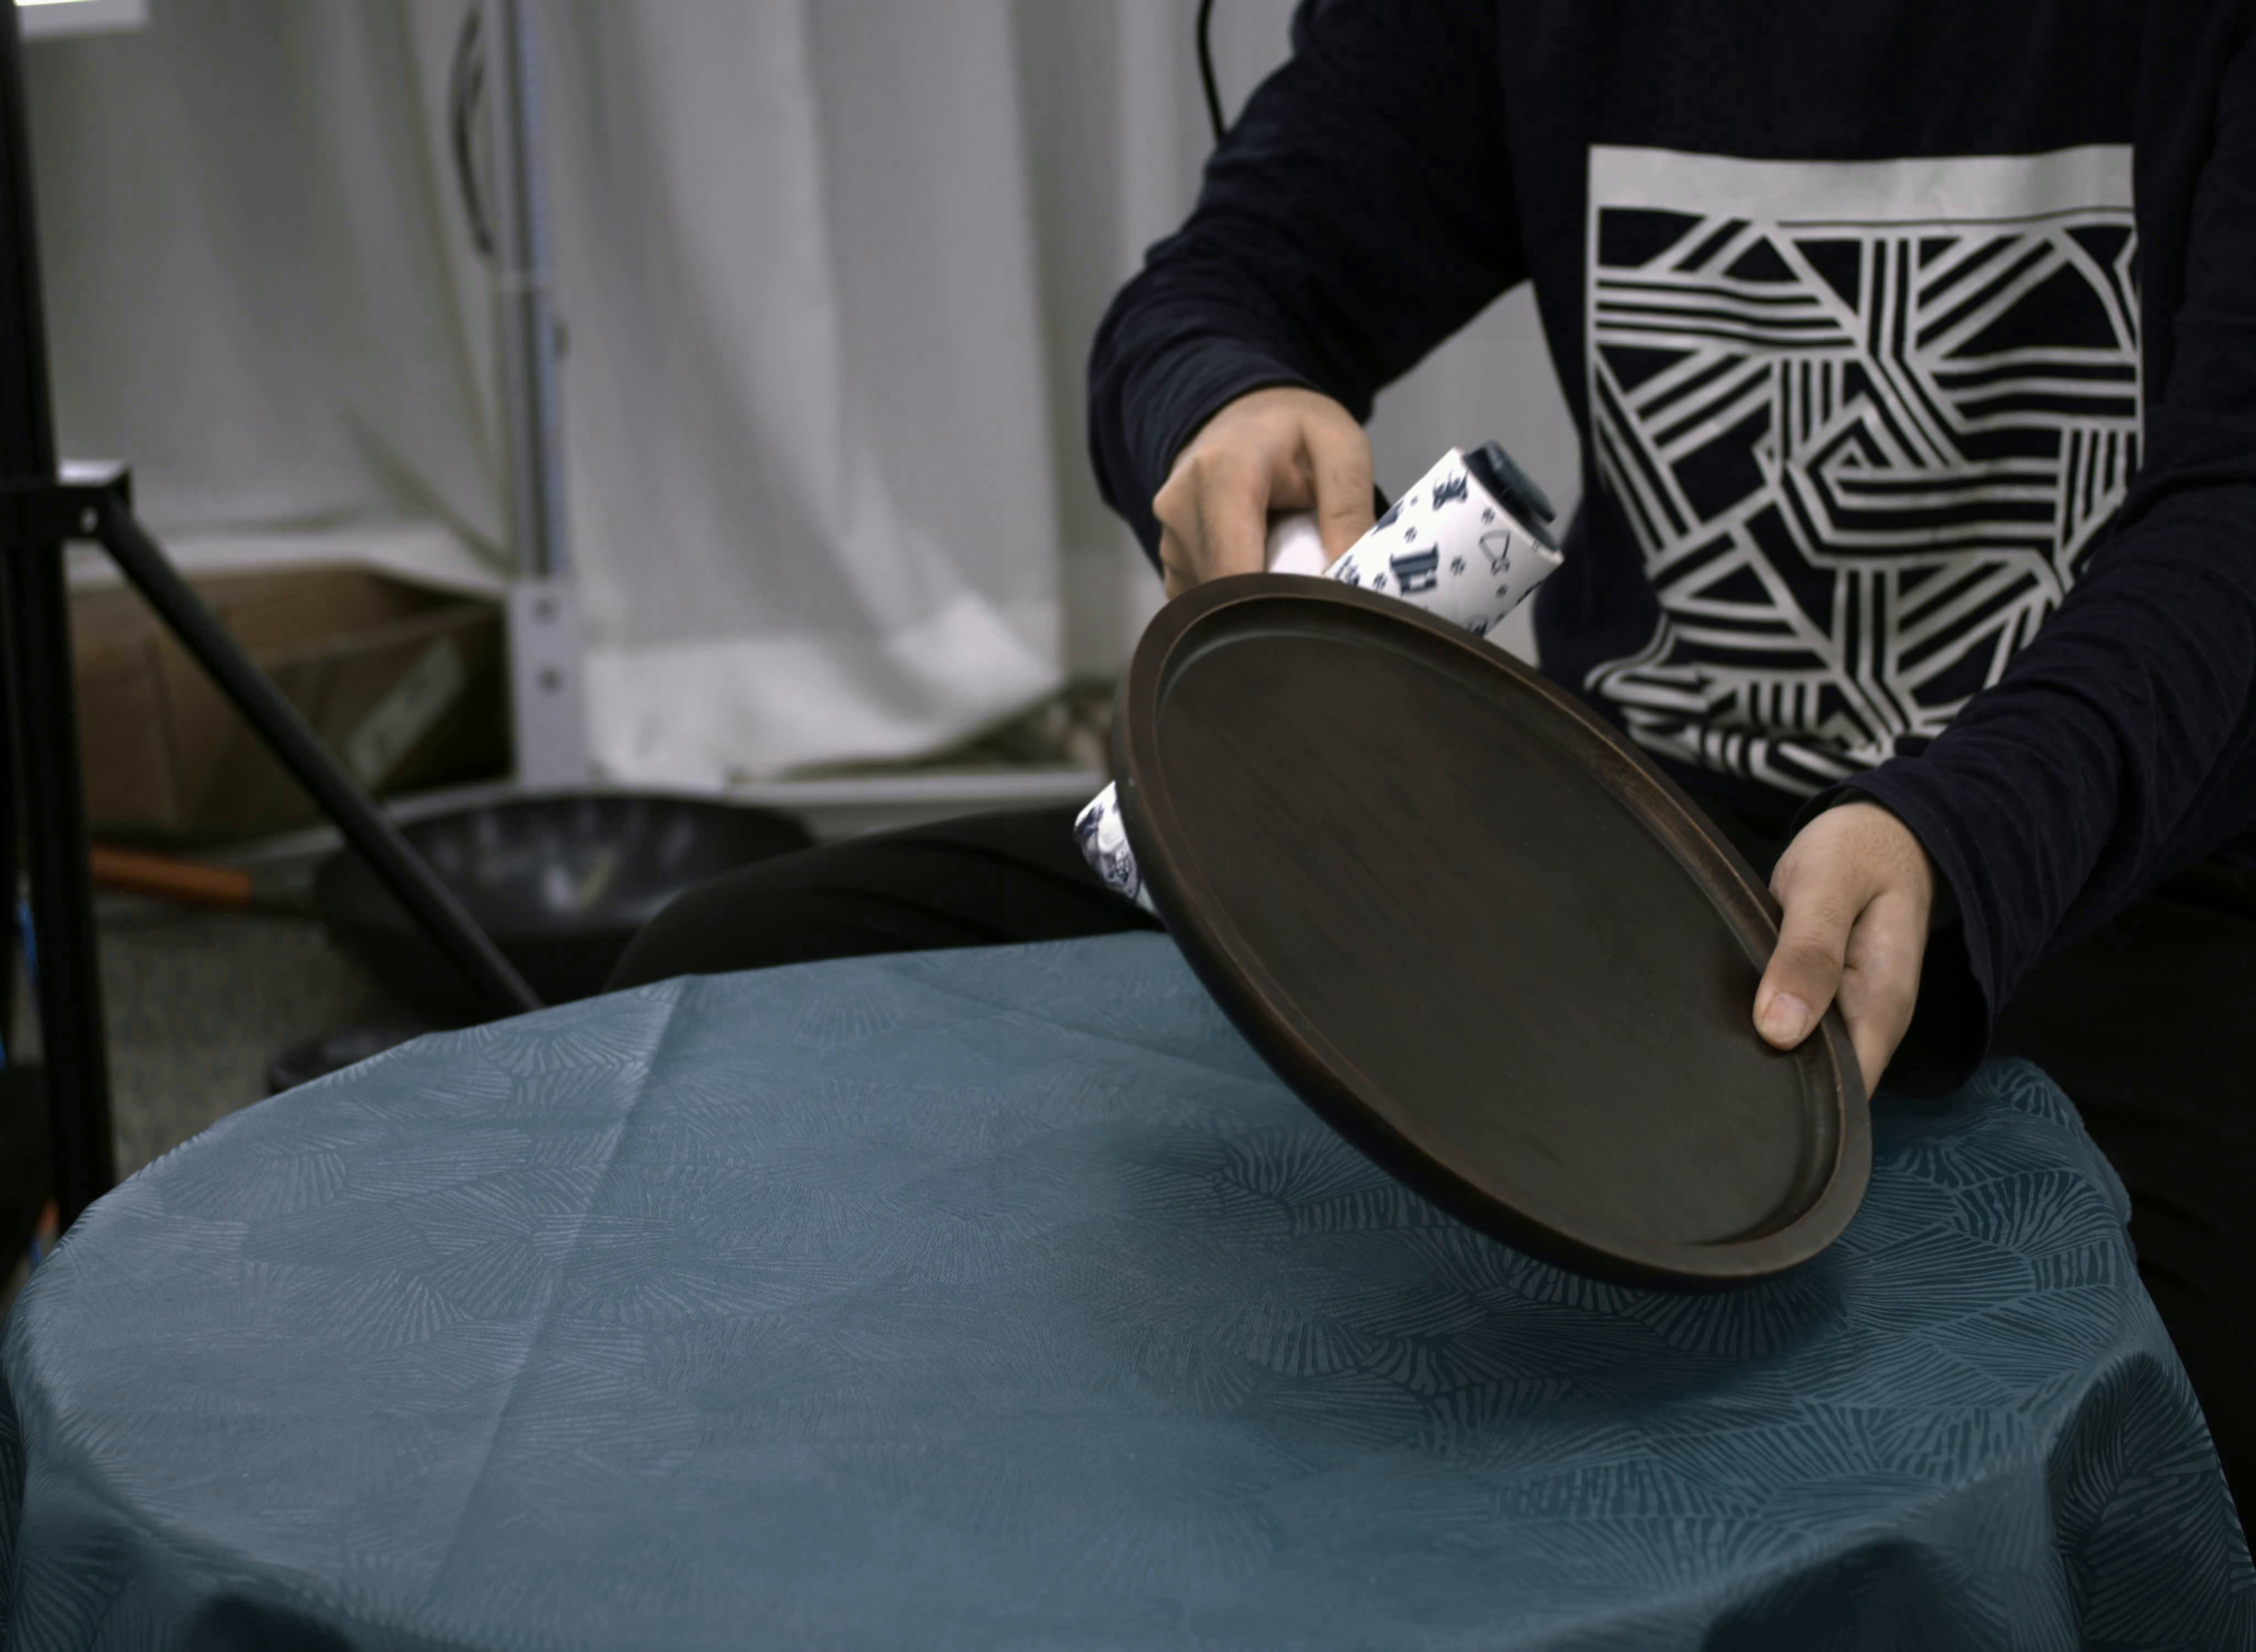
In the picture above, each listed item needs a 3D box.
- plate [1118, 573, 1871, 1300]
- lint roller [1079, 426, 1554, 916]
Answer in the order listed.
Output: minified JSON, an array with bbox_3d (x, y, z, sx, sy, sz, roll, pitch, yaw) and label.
[{"bbox_3d":[0.100,0.029,1.451,0.250,0.029,0.257,28,32,-22],"label":"plate"},{"bbox_3d":[0.055,-0.070,1.679,0.177,0.050,0.248,-46,11,11],"label":"lint roller"}]
